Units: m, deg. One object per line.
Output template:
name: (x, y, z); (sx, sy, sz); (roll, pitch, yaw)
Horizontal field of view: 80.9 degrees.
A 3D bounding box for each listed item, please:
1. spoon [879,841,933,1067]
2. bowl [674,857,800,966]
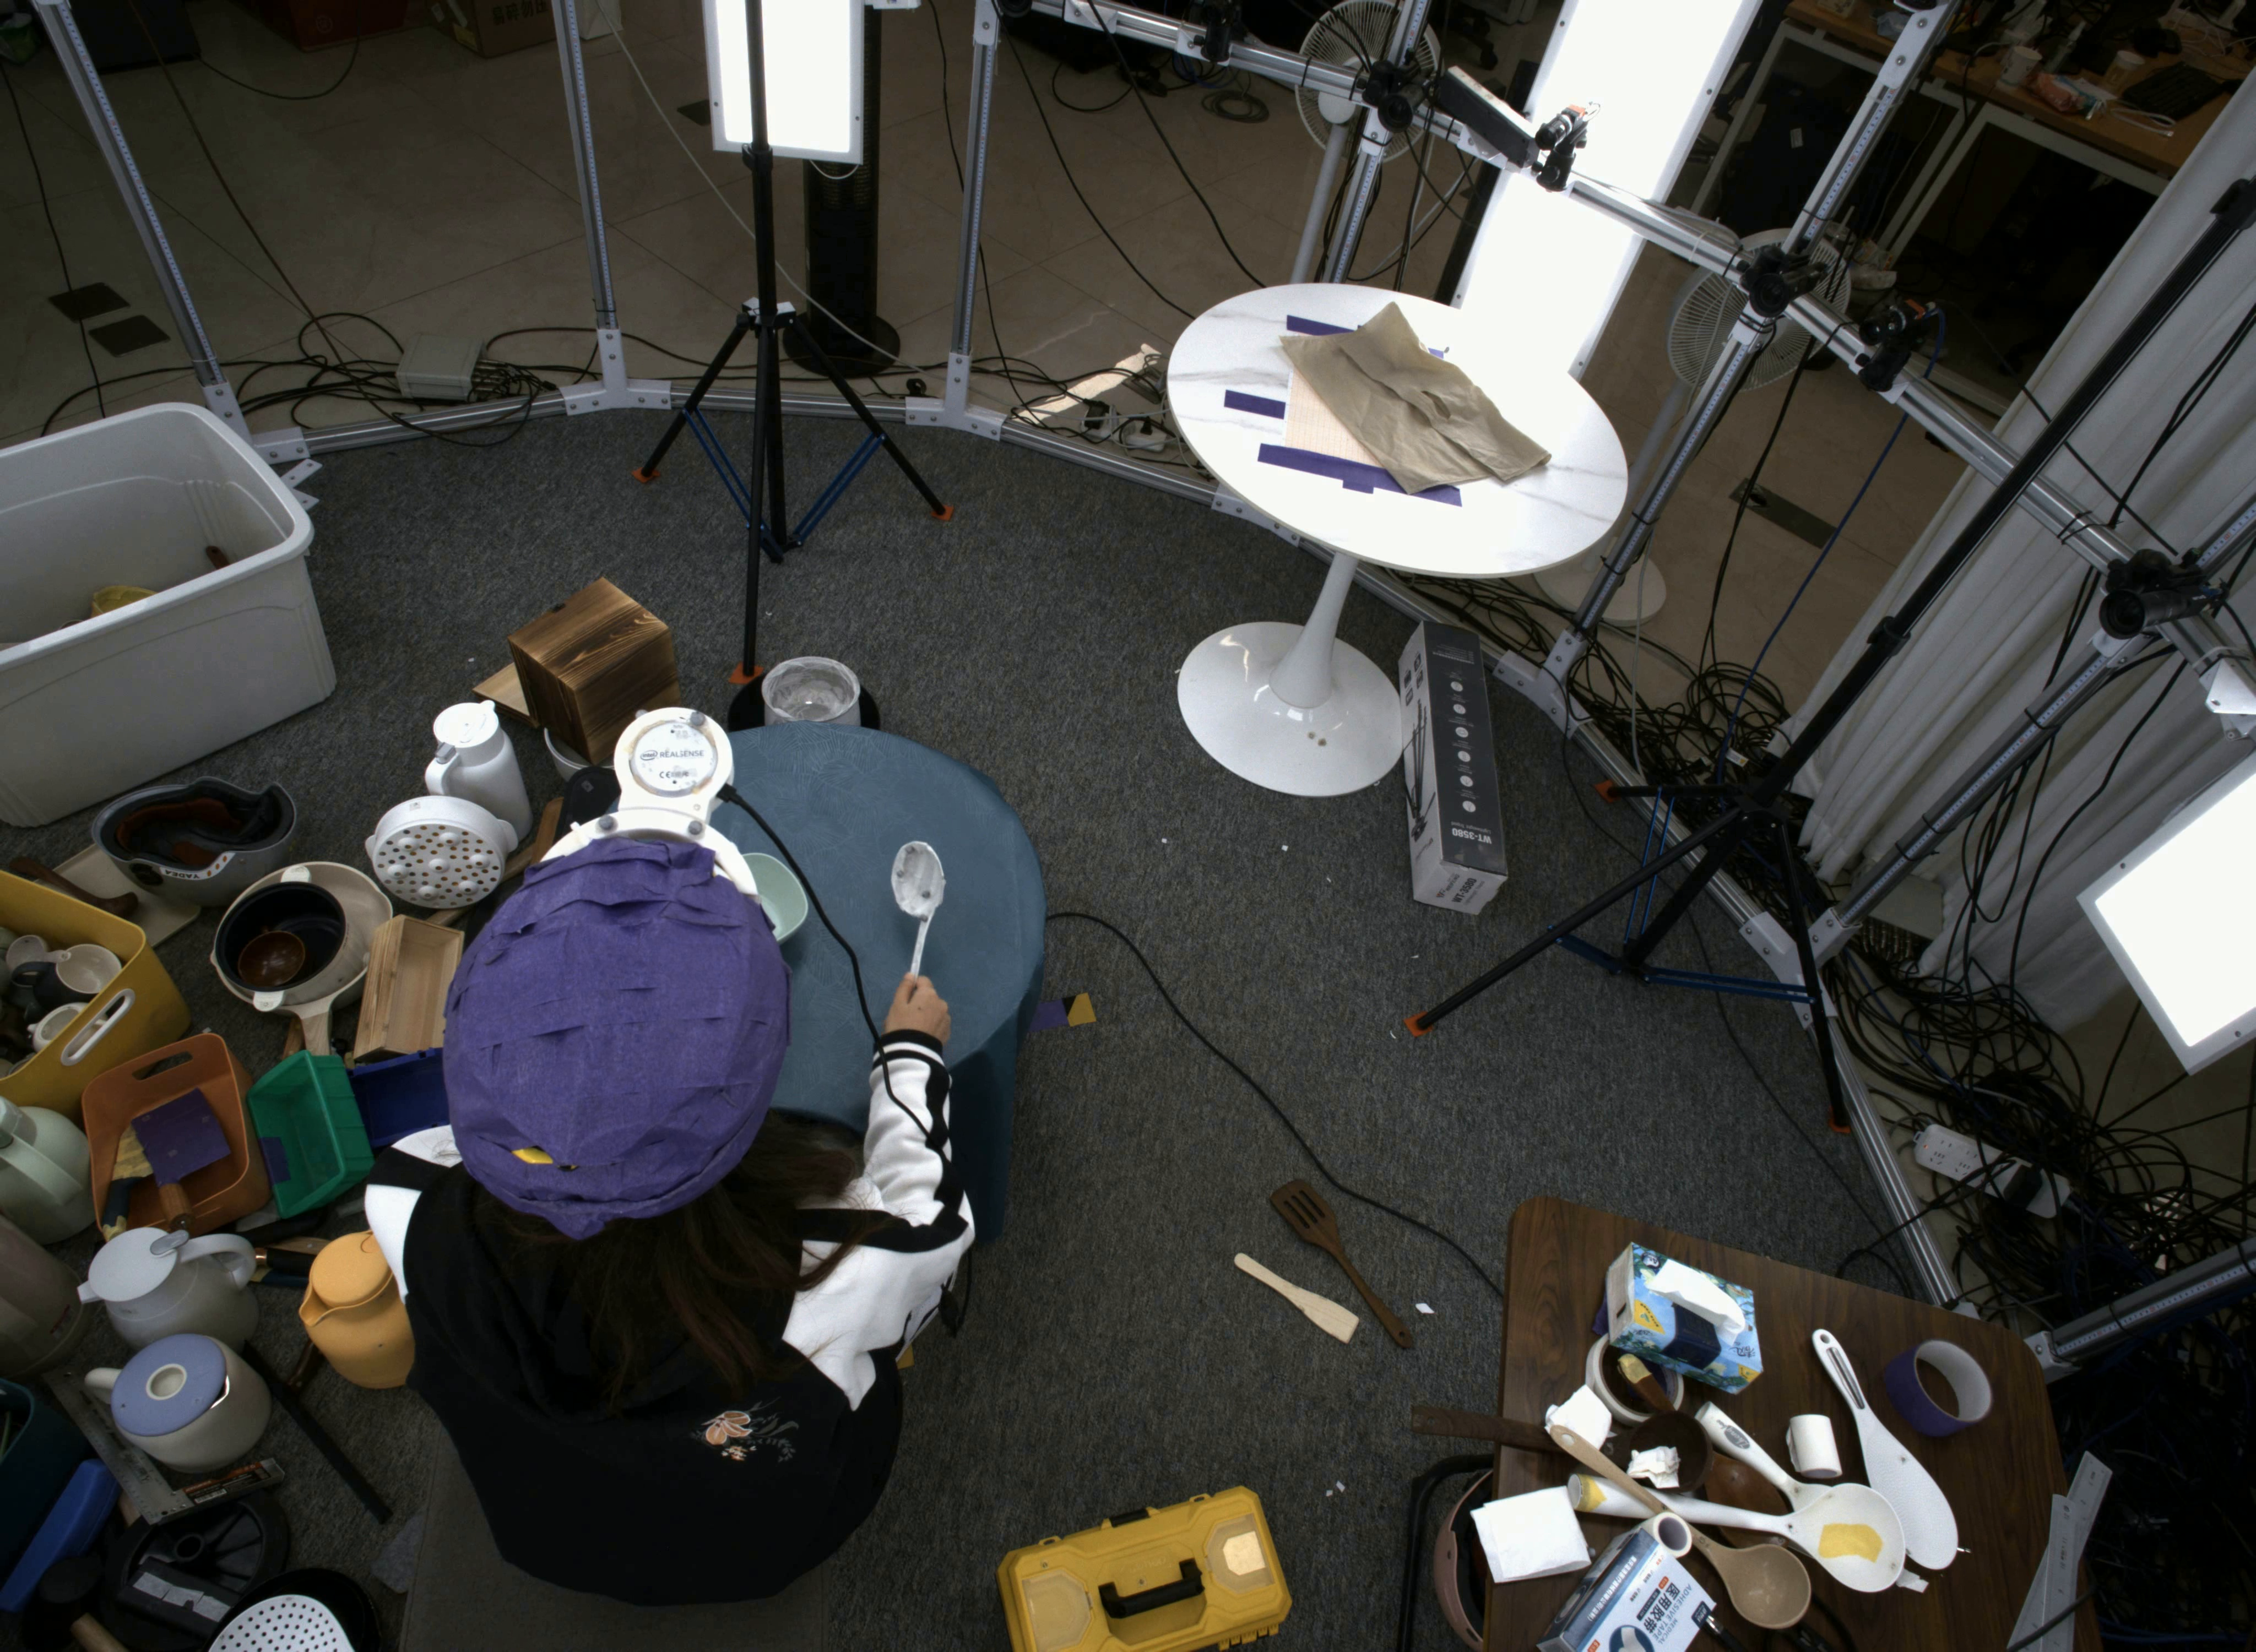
spoon: (-0.284, 0.148, 1.547); (0.061, 0.099, 0.274); (30, 52, -29)
bowl: (-0.477, 0.113, 1.586); (0.151, 0.060, 0.149); (8, 52, -8)
